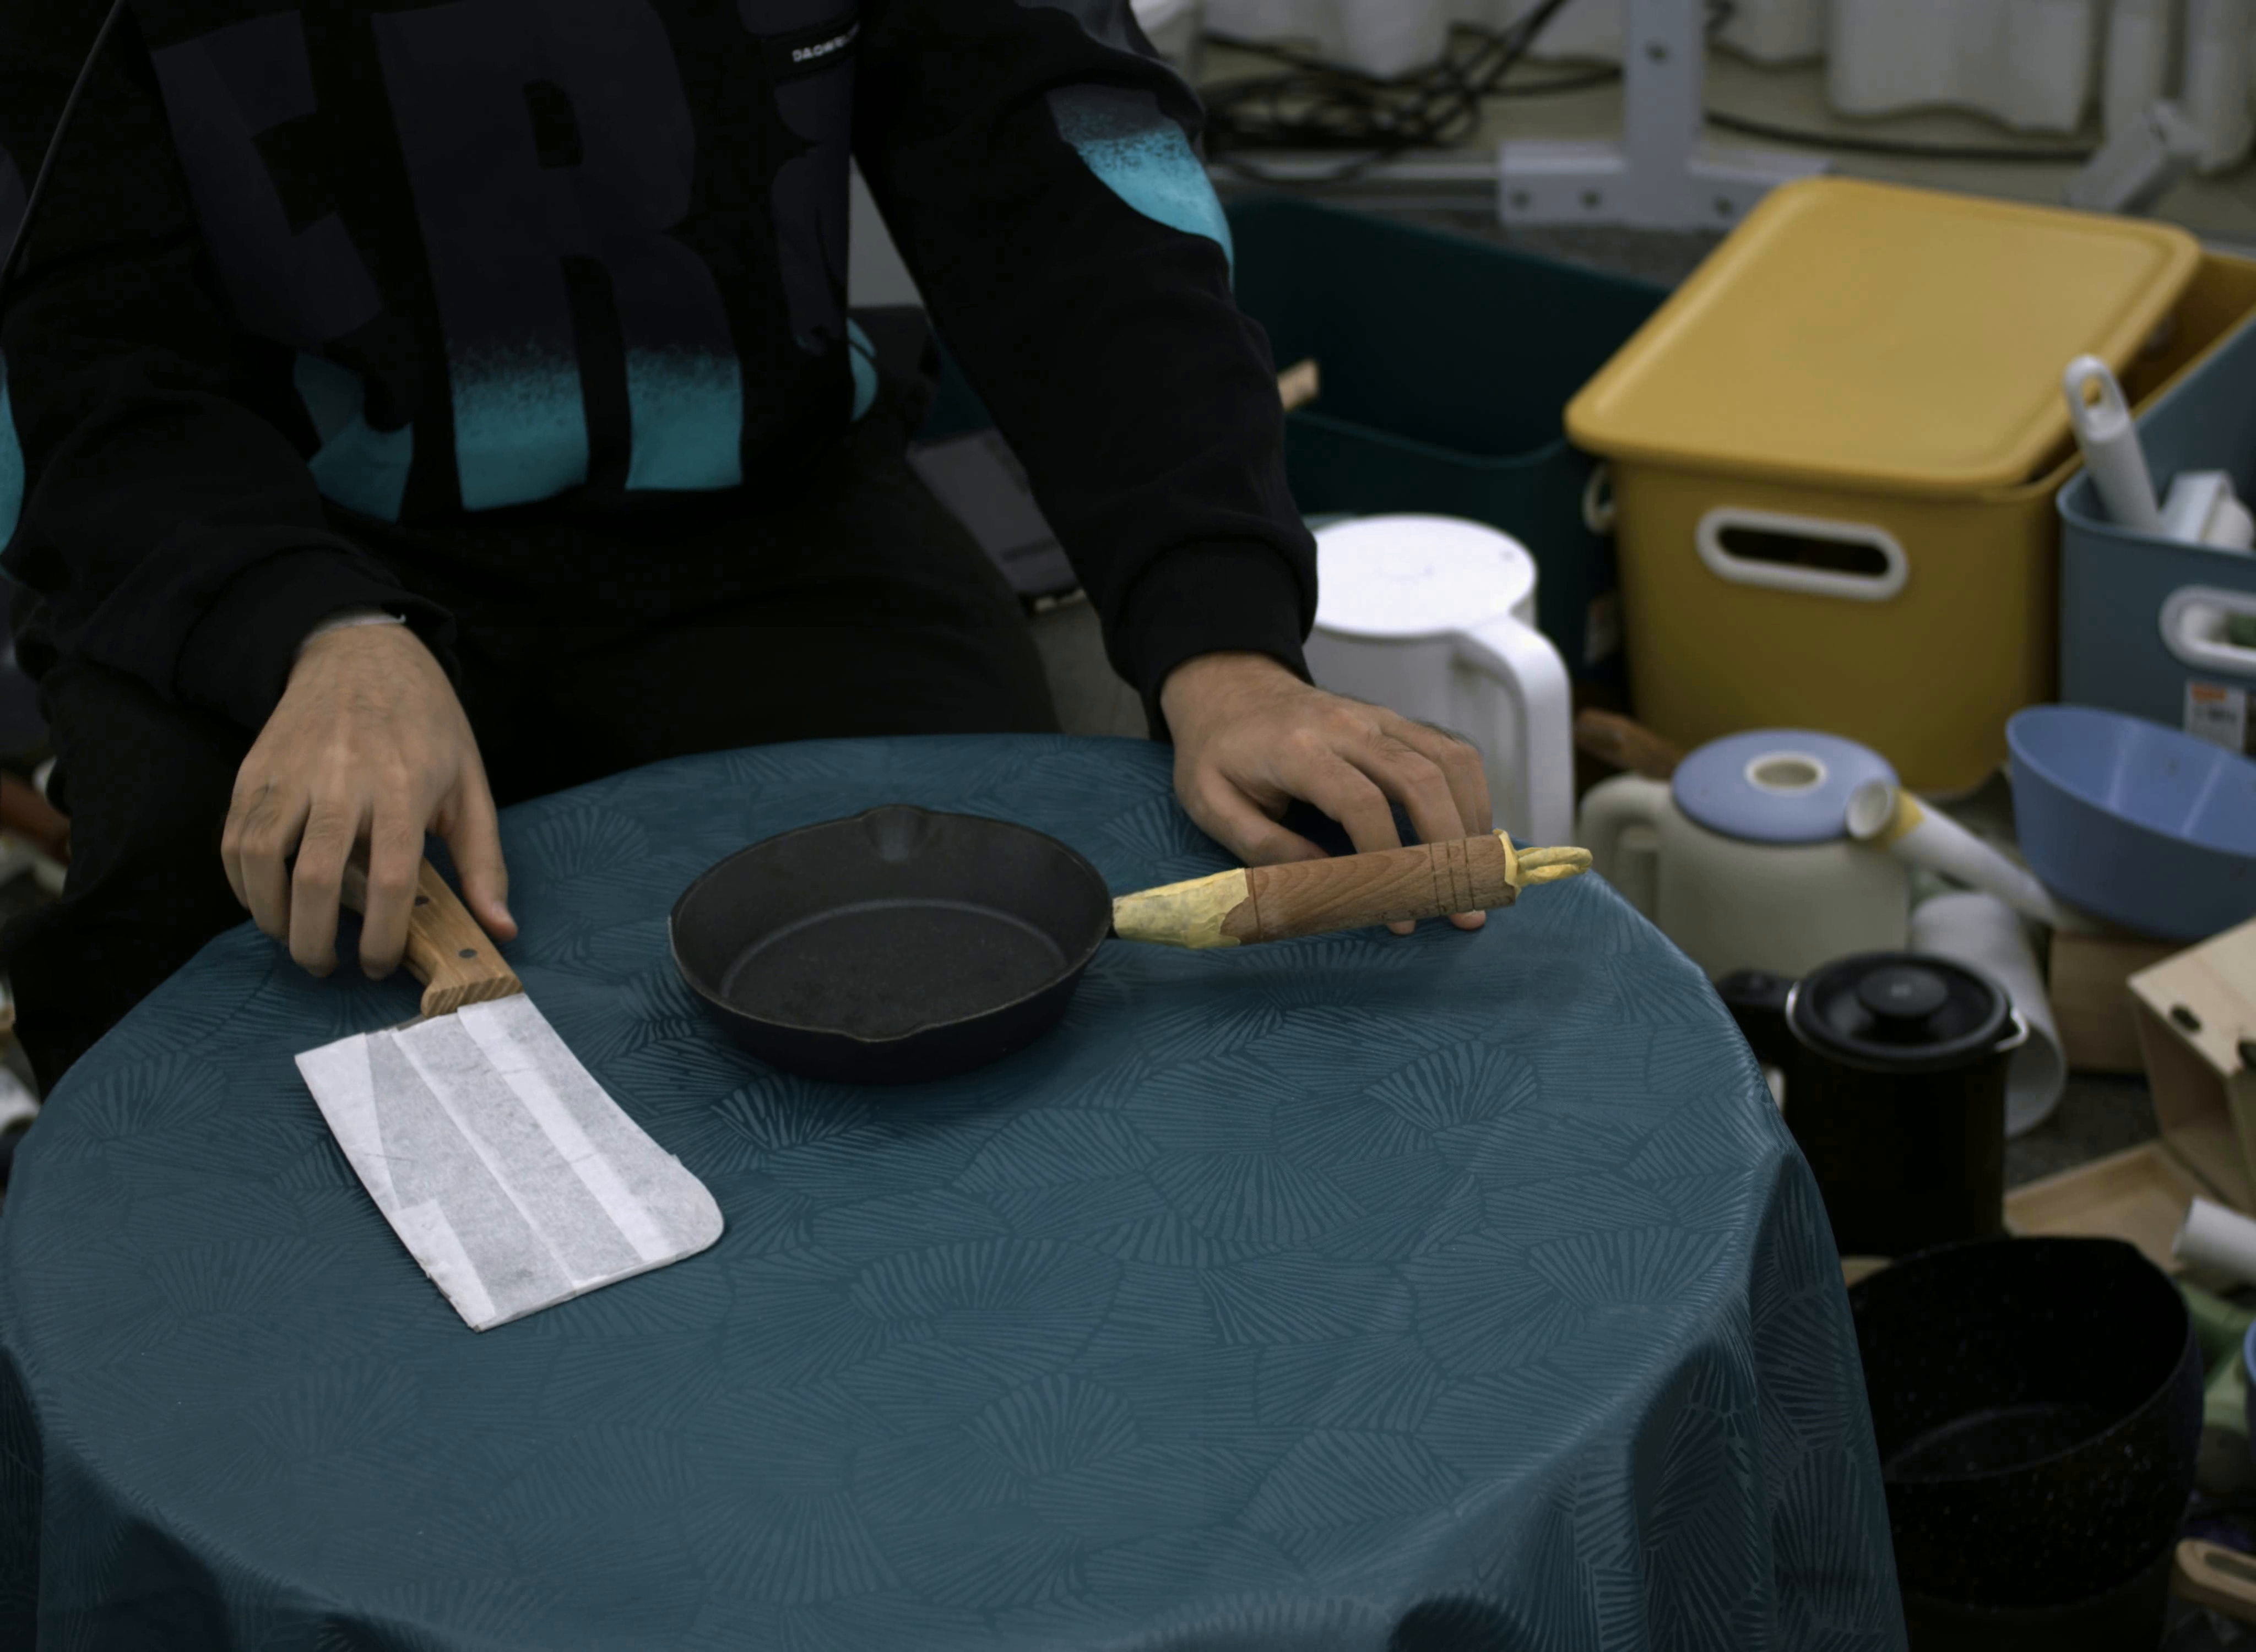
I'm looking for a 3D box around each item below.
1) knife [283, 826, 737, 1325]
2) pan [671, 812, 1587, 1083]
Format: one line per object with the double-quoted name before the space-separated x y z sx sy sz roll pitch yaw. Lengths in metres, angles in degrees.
"knife" -0.230 0.081 1.943 0.114 0.021 0.318 -14 32 -18
"pan" 0.001 0.035 1.974 0.322 0.049 0.171 -4 27 2
